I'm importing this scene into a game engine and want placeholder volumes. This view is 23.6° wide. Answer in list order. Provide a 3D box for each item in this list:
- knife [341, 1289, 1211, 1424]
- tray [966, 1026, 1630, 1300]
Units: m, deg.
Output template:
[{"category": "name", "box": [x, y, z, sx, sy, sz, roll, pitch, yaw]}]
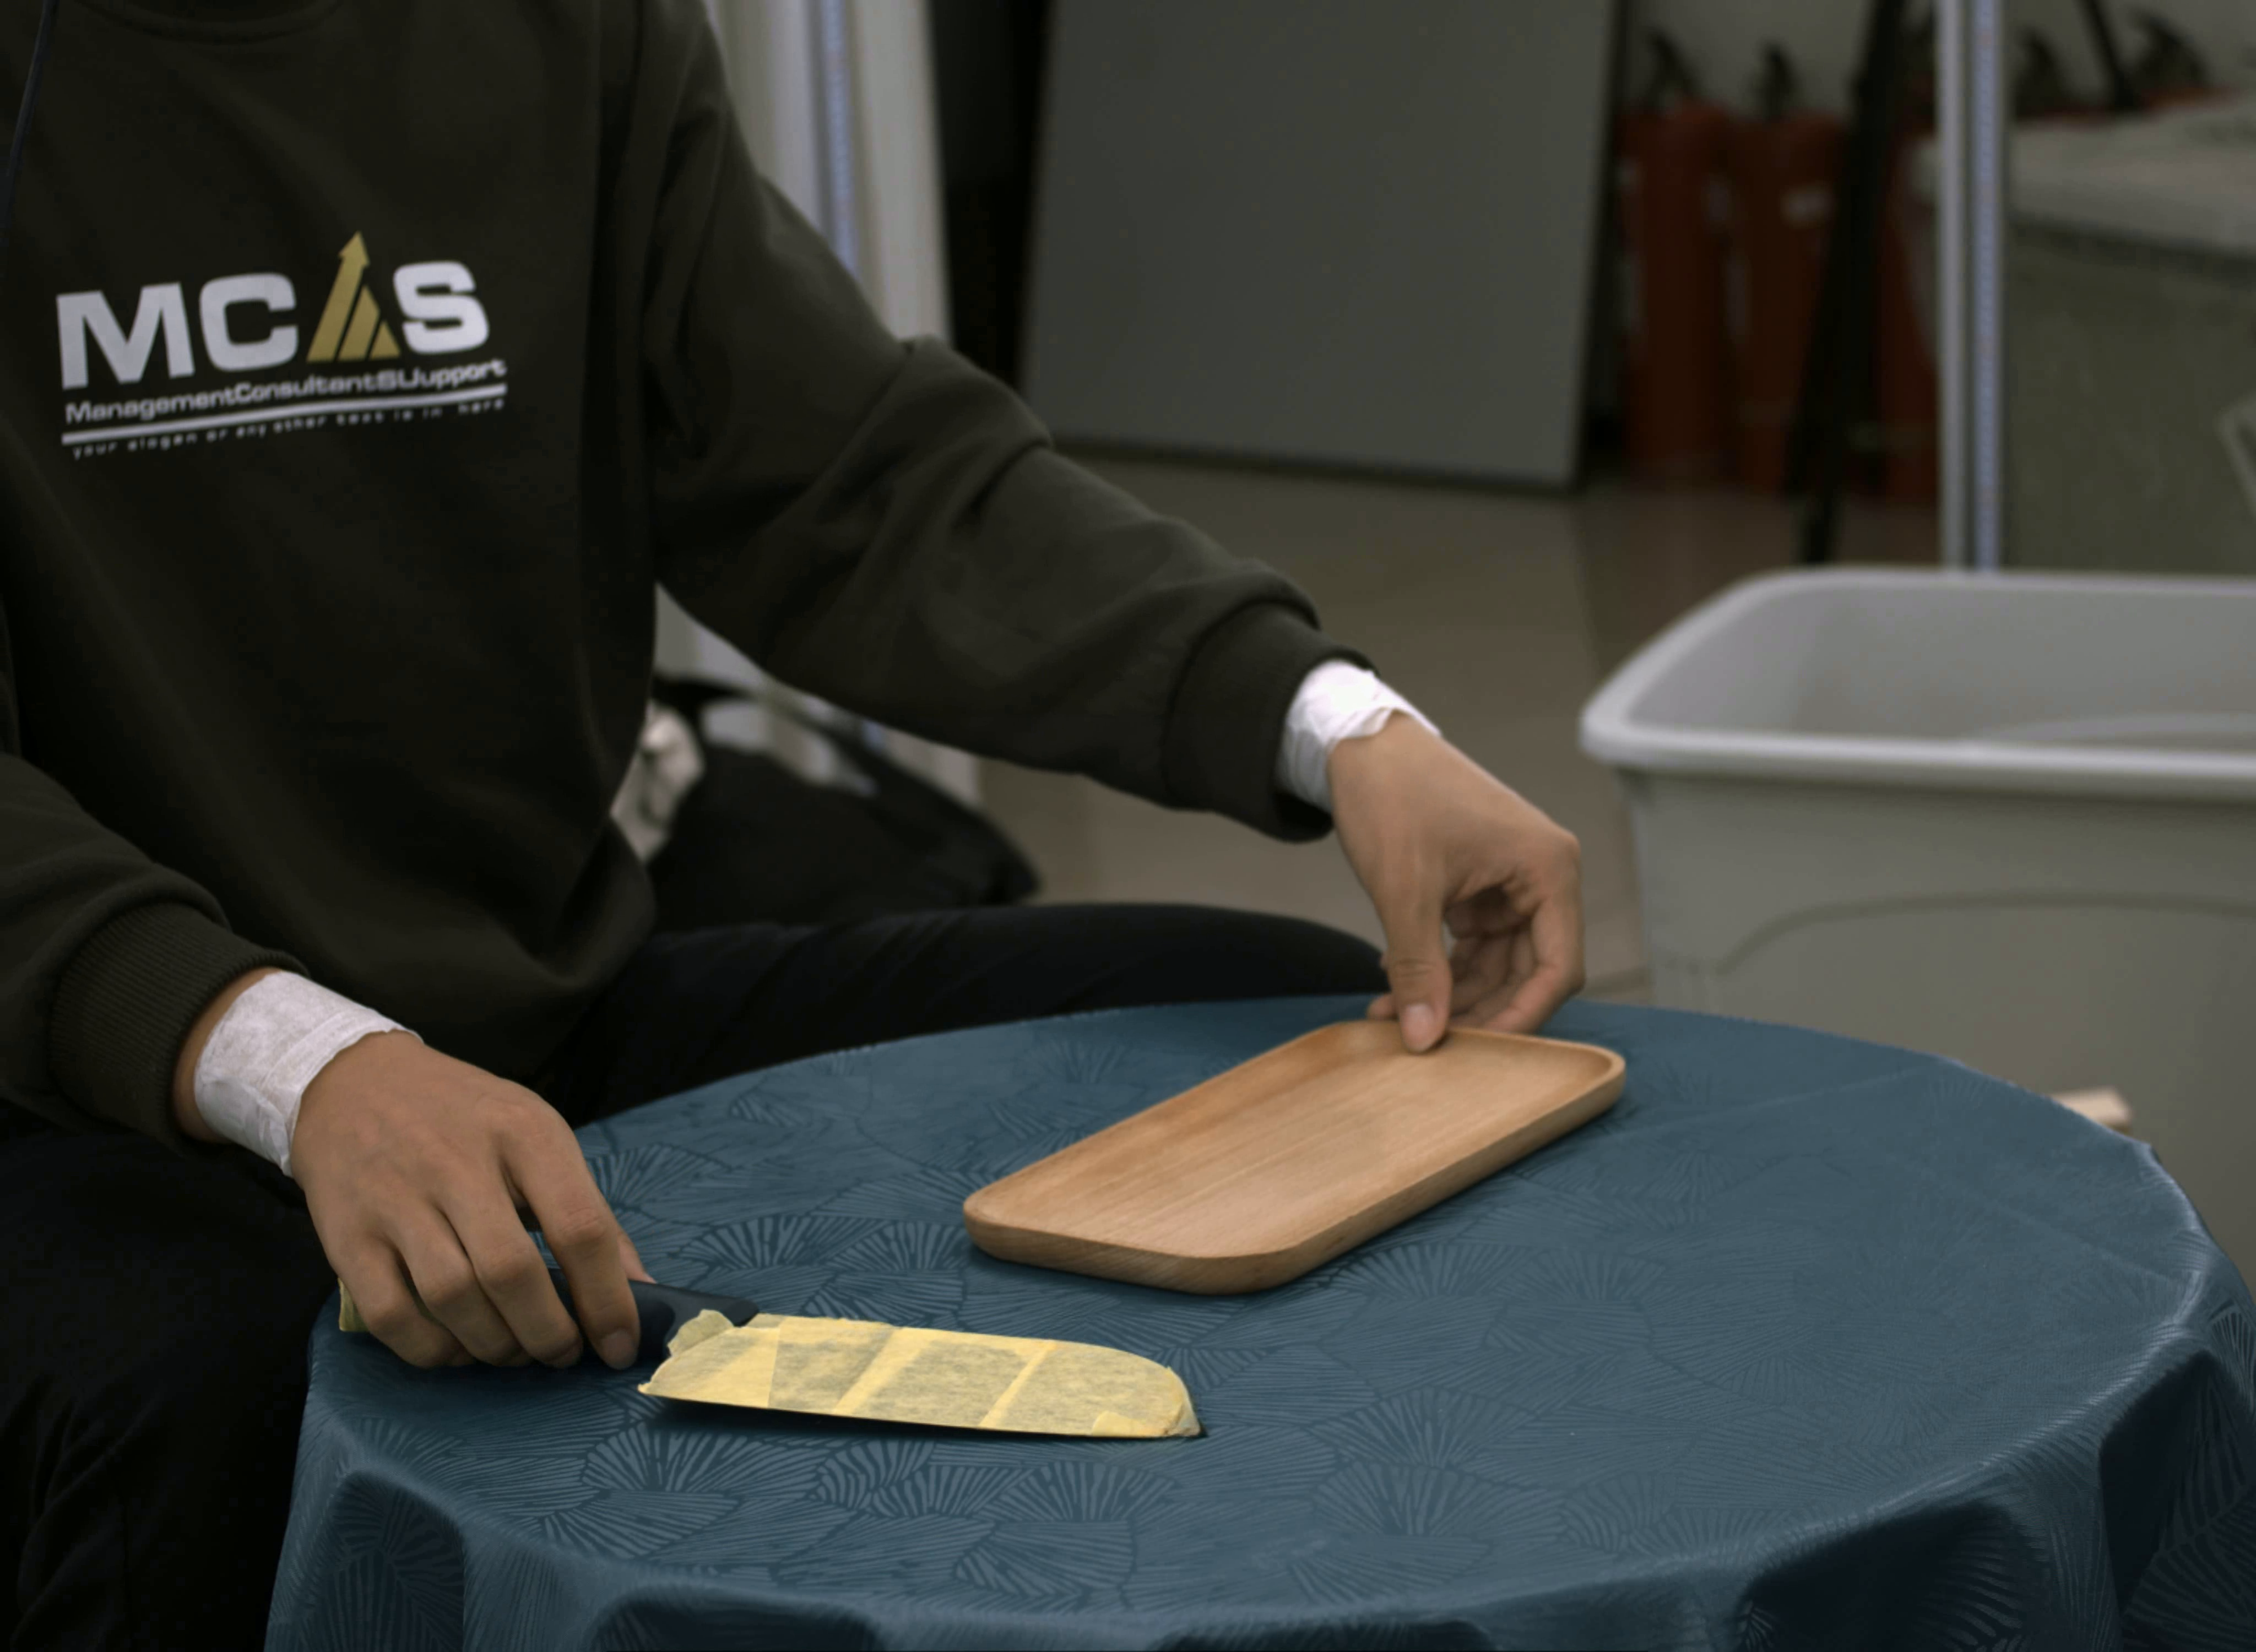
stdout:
[{"category": "knife", "box": [-0.111, 0.161, 1.611, 0.289, 0.027, 0.080, 2, 13, 20]}, {"category": "tray", "box": [0.060, 0.109, 1.776, 0.131, 0.023, 0.246, 3, 16, 37]}]
